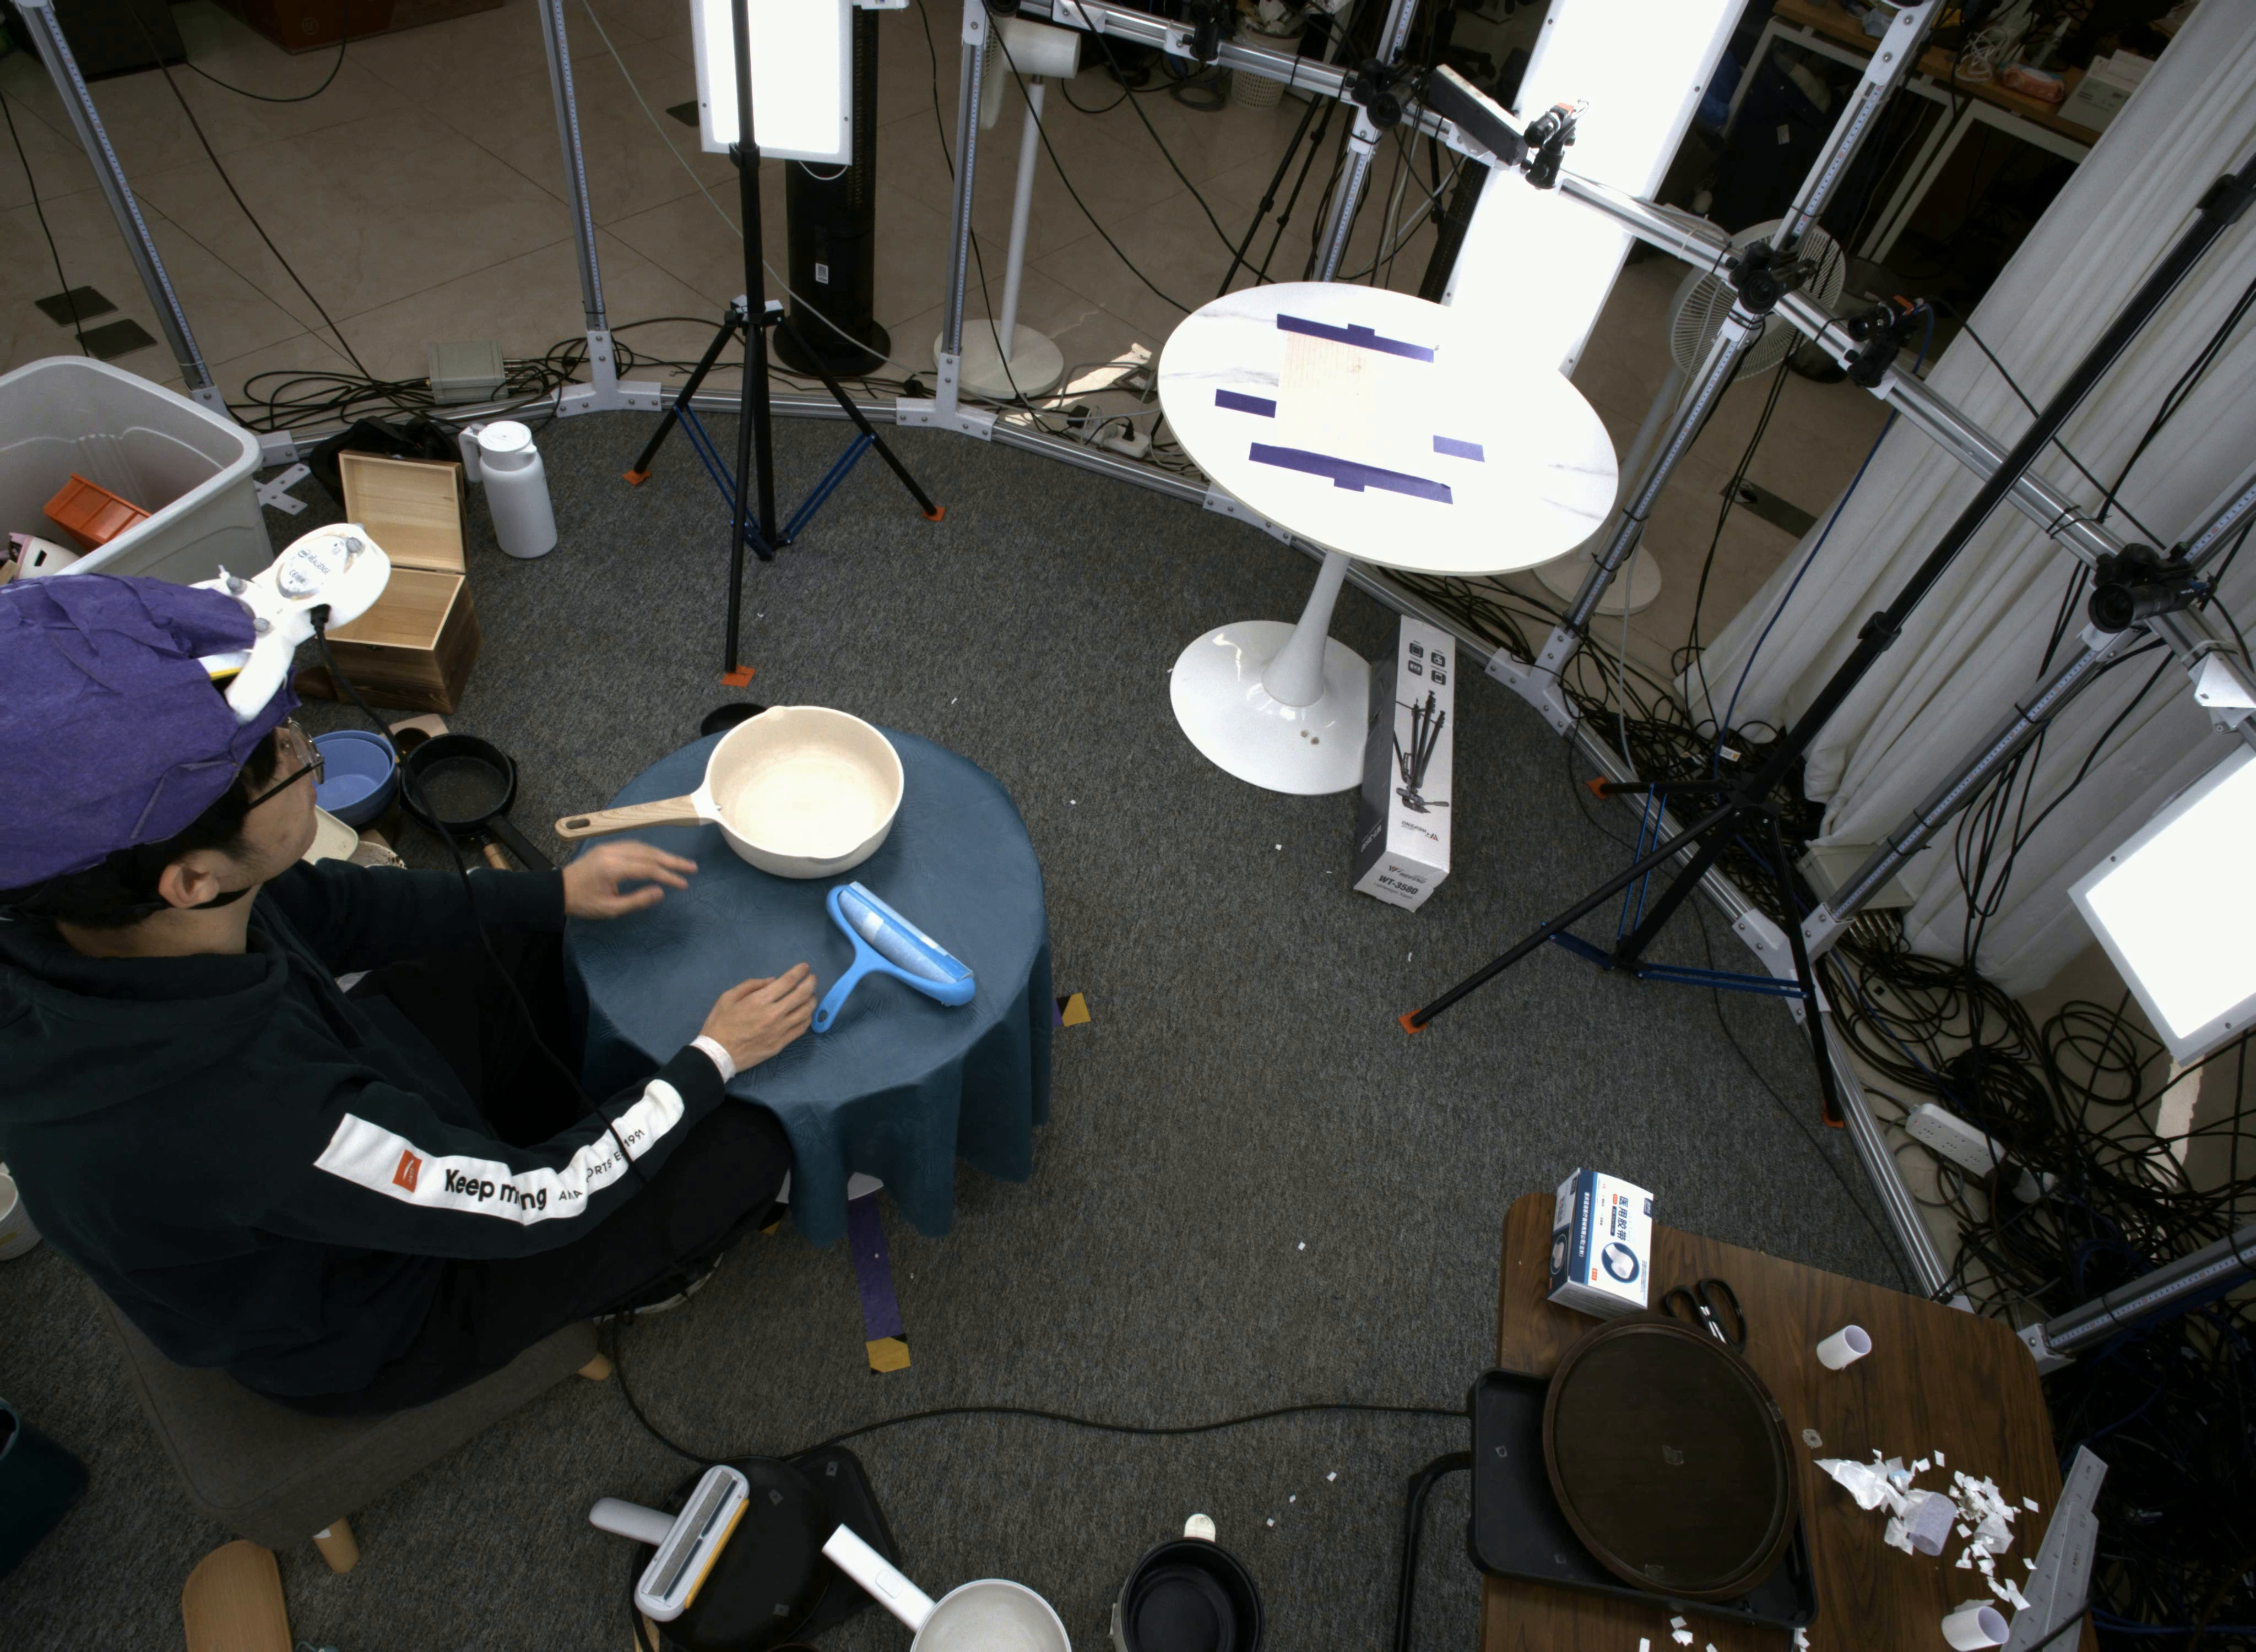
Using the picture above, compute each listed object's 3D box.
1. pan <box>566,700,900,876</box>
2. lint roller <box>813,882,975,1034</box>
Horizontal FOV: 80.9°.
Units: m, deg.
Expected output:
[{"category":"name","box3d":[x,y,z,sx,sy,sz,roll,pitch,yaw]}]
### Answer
[{"category":"pan","box3d":[-0.505,-0.023,1.660,0.437,0.104,0.257,-18,61,-26]},{"category":"lint roller","box3d":[-0.316,0.177,1.591,0.225,0.069,0.180,34,52,10]}]
